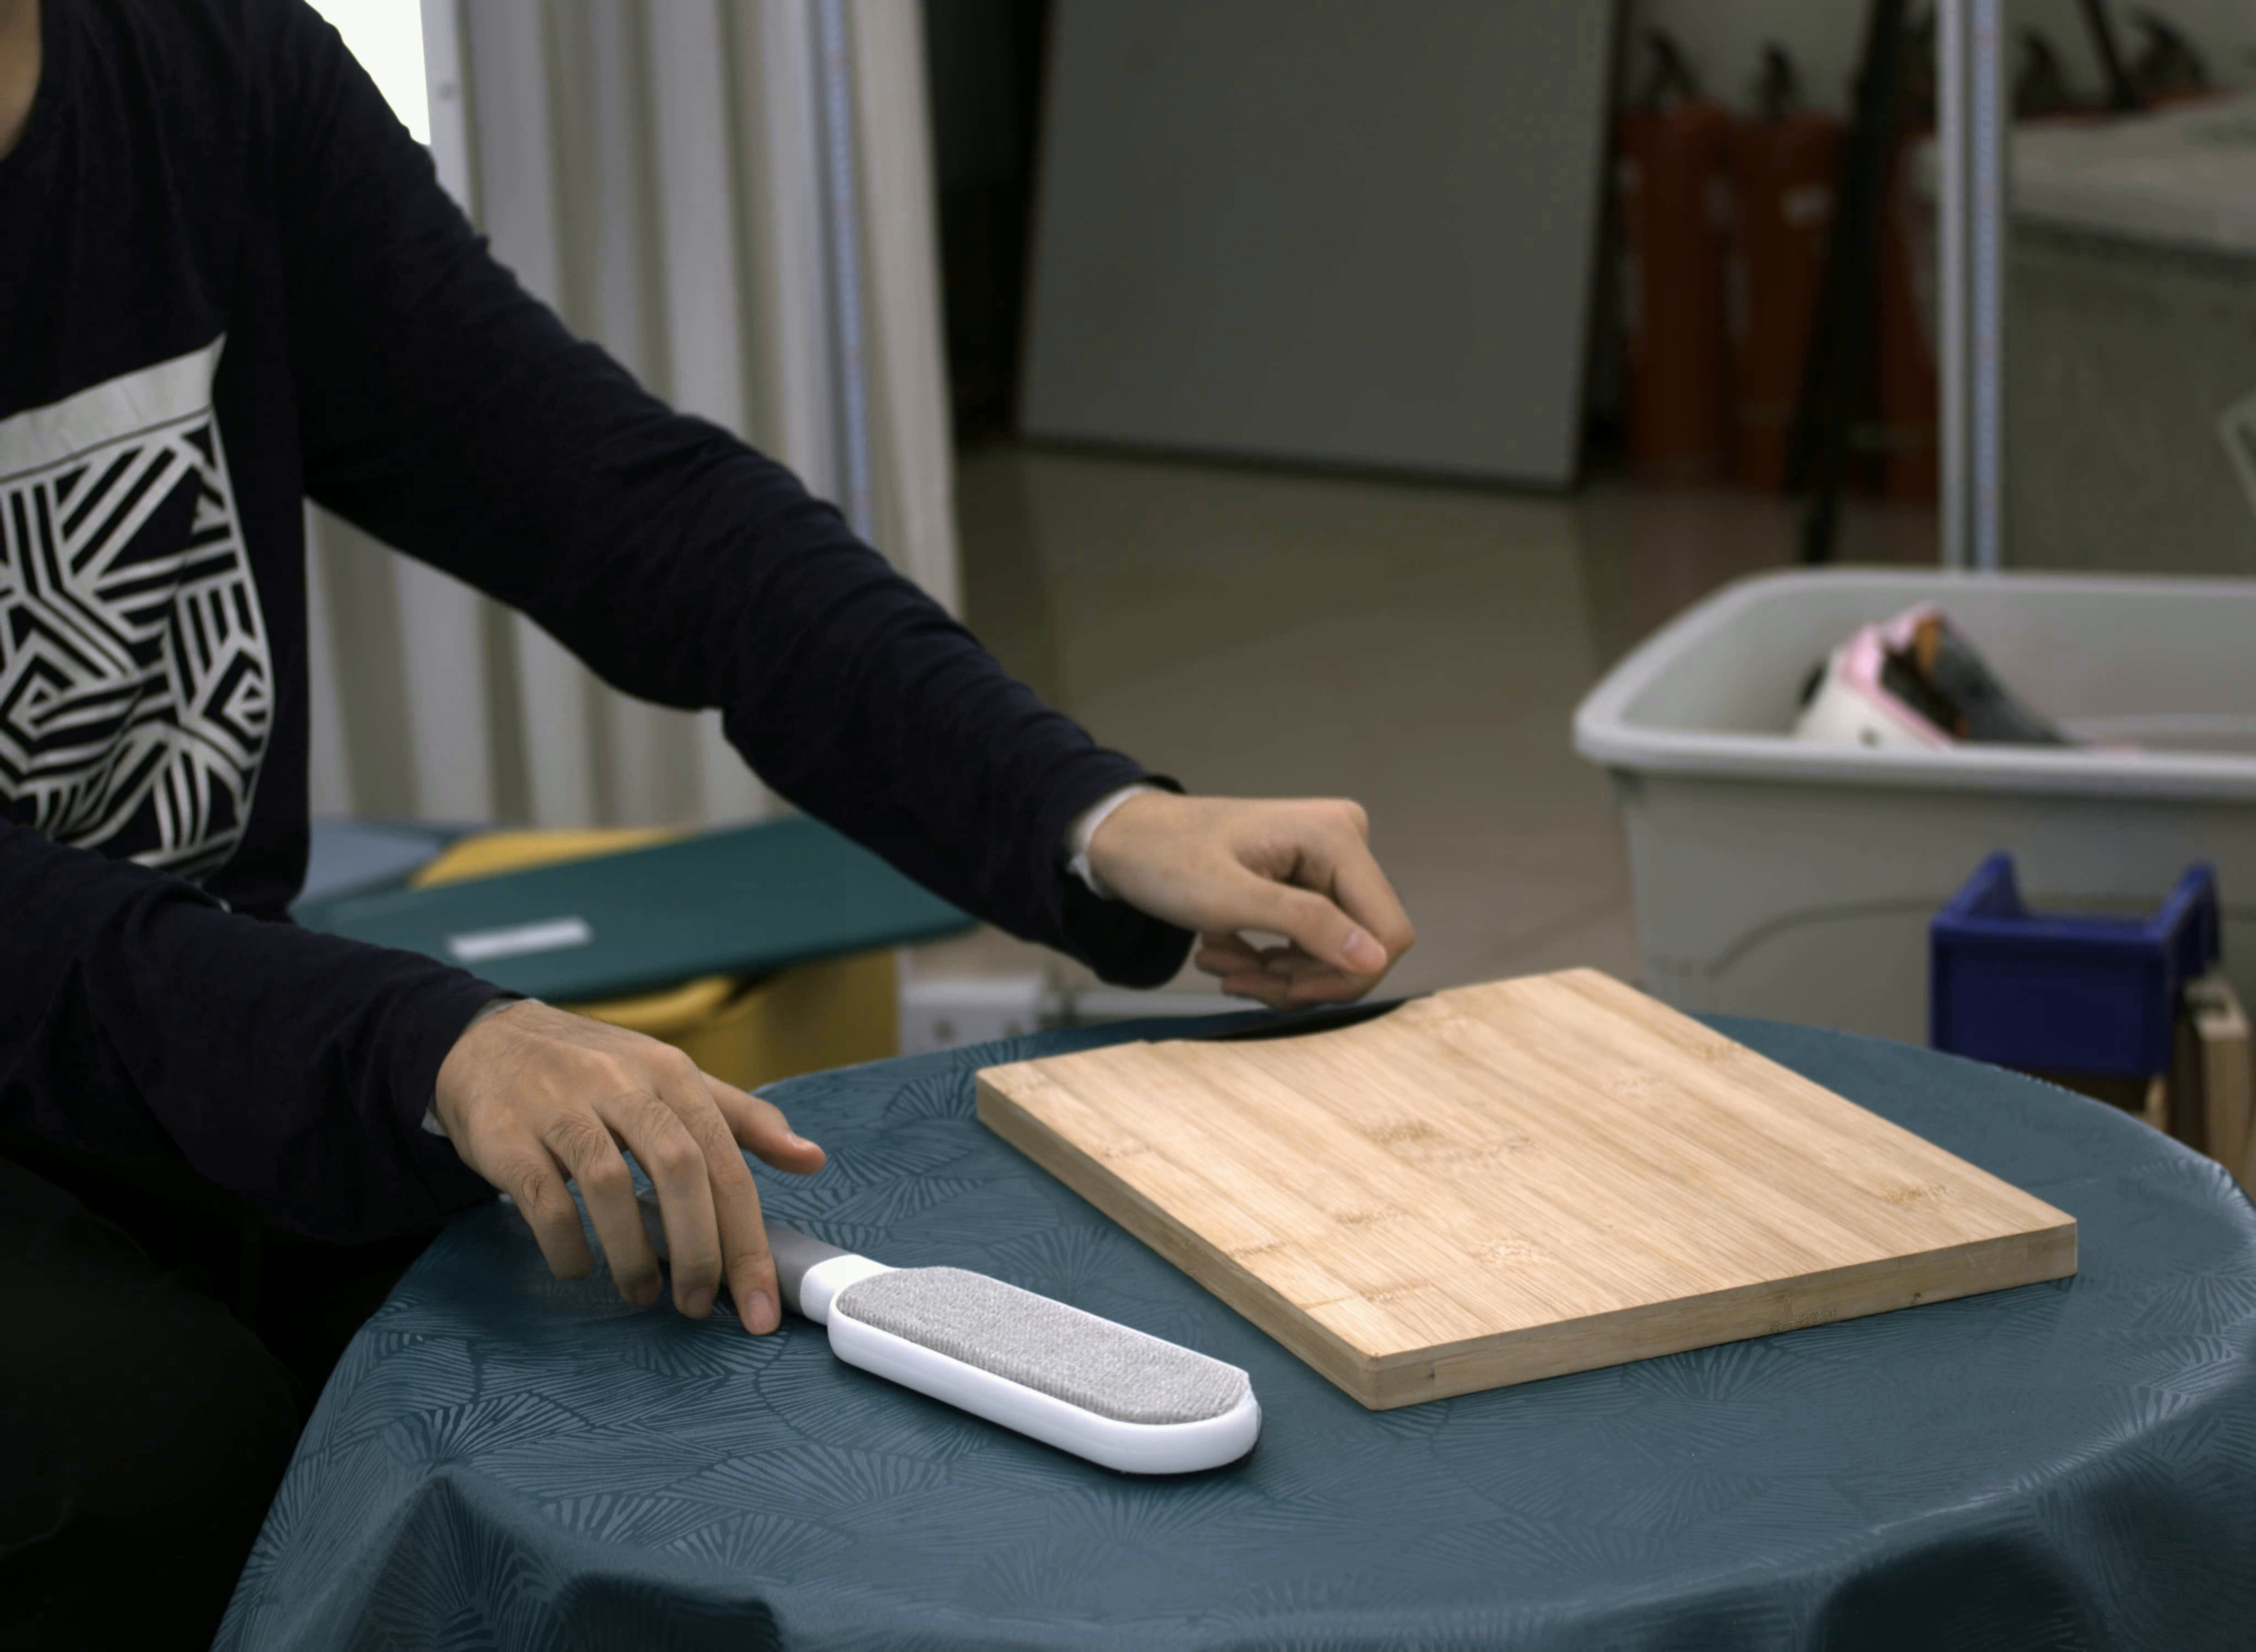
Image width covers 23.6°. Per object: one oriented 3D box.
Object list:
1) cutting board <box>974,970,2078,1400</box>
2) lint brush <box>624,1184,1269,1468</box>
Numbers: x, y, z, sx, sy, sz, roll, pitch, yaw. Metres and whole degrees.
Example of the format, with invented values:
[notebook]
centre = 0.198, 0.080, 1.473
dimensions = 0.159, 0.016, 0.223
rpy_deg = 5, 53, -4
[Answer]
[cutting board]
centre = 0.117, 0.111, 1.751
dimensions = 0.245, 0.024, 0.352
rpy_deg = -9, 14, -20
[lint brush]
centre = -0.063, 0.147, 1.630
dimensions = 0.059, 0.021, 0.312
rpy_deg = -20, 20, -33
